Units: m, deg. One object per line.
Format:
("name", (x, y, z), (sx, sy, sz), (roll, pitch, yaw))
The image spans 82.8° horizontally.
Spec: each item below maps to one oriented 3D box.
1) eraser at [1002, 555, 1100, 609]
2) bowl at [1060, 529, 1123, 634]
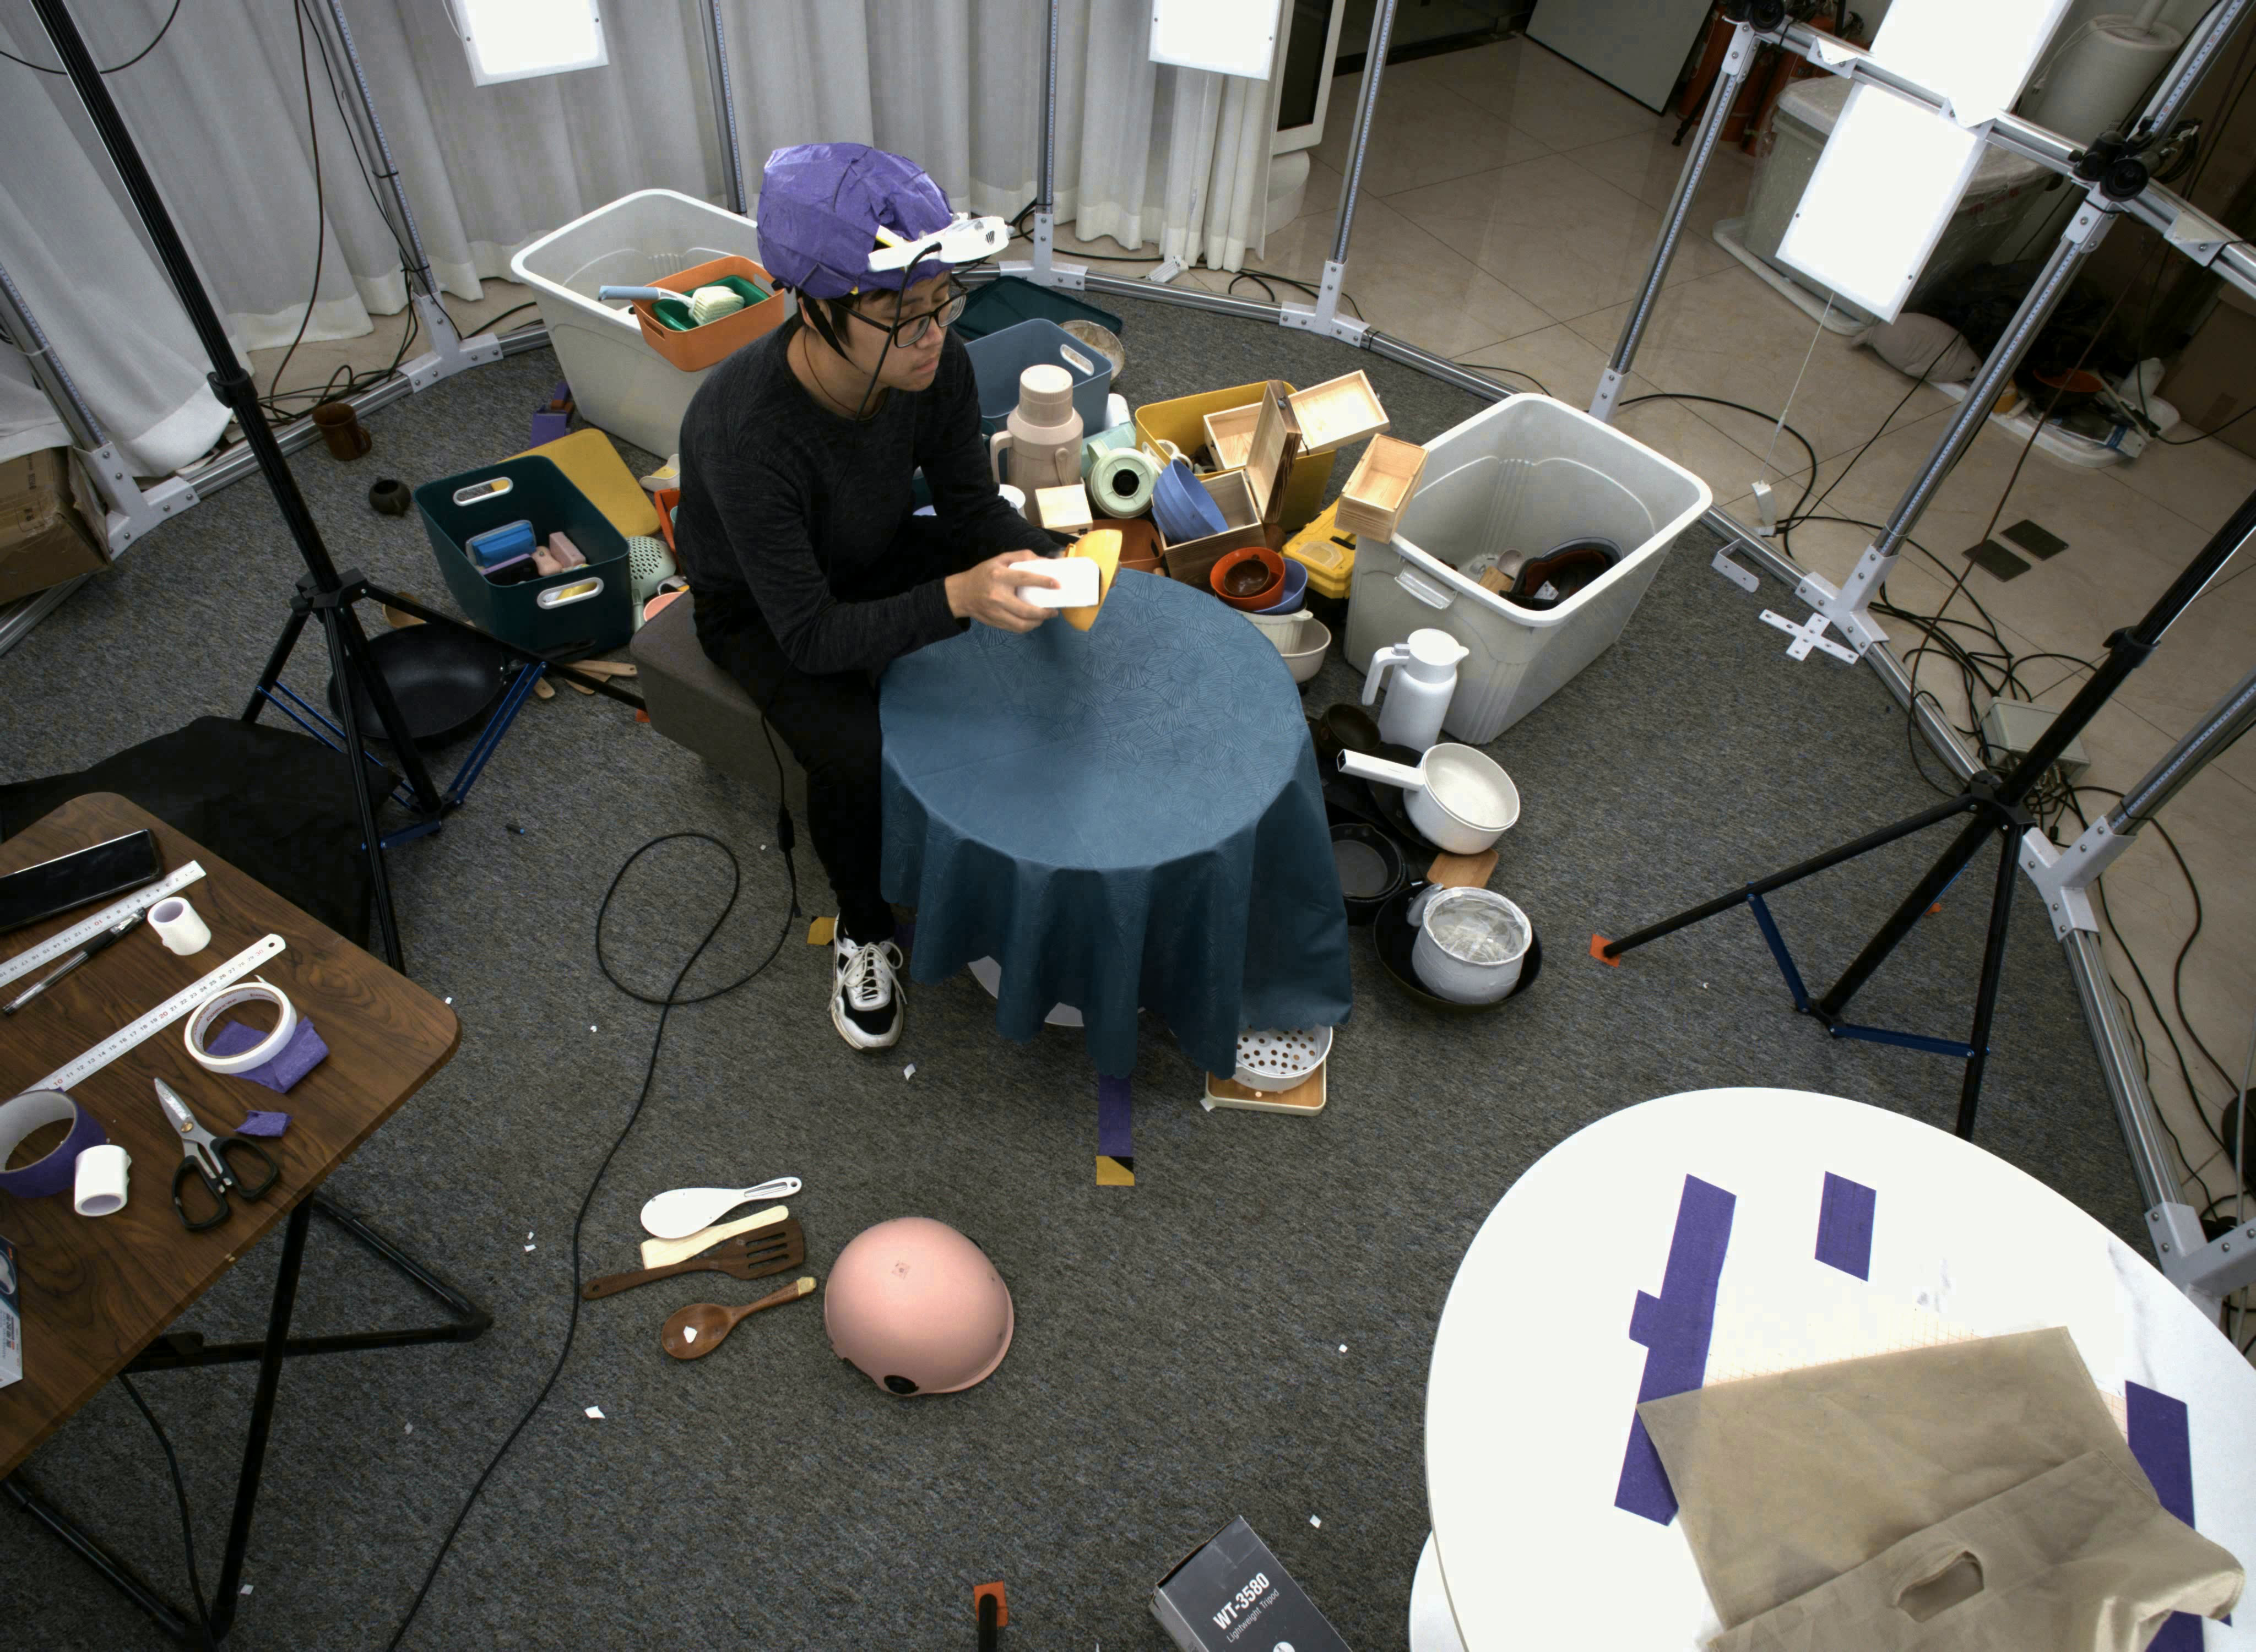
("eraser", (-0.099, -0.312, 1.646), (0.132, 0.034, 0.064), (1, 85, 24))
("bowl", (-0.060, -0.332, 1.700), (0.060, 0.142, 0.149), (18, 48, -12))
